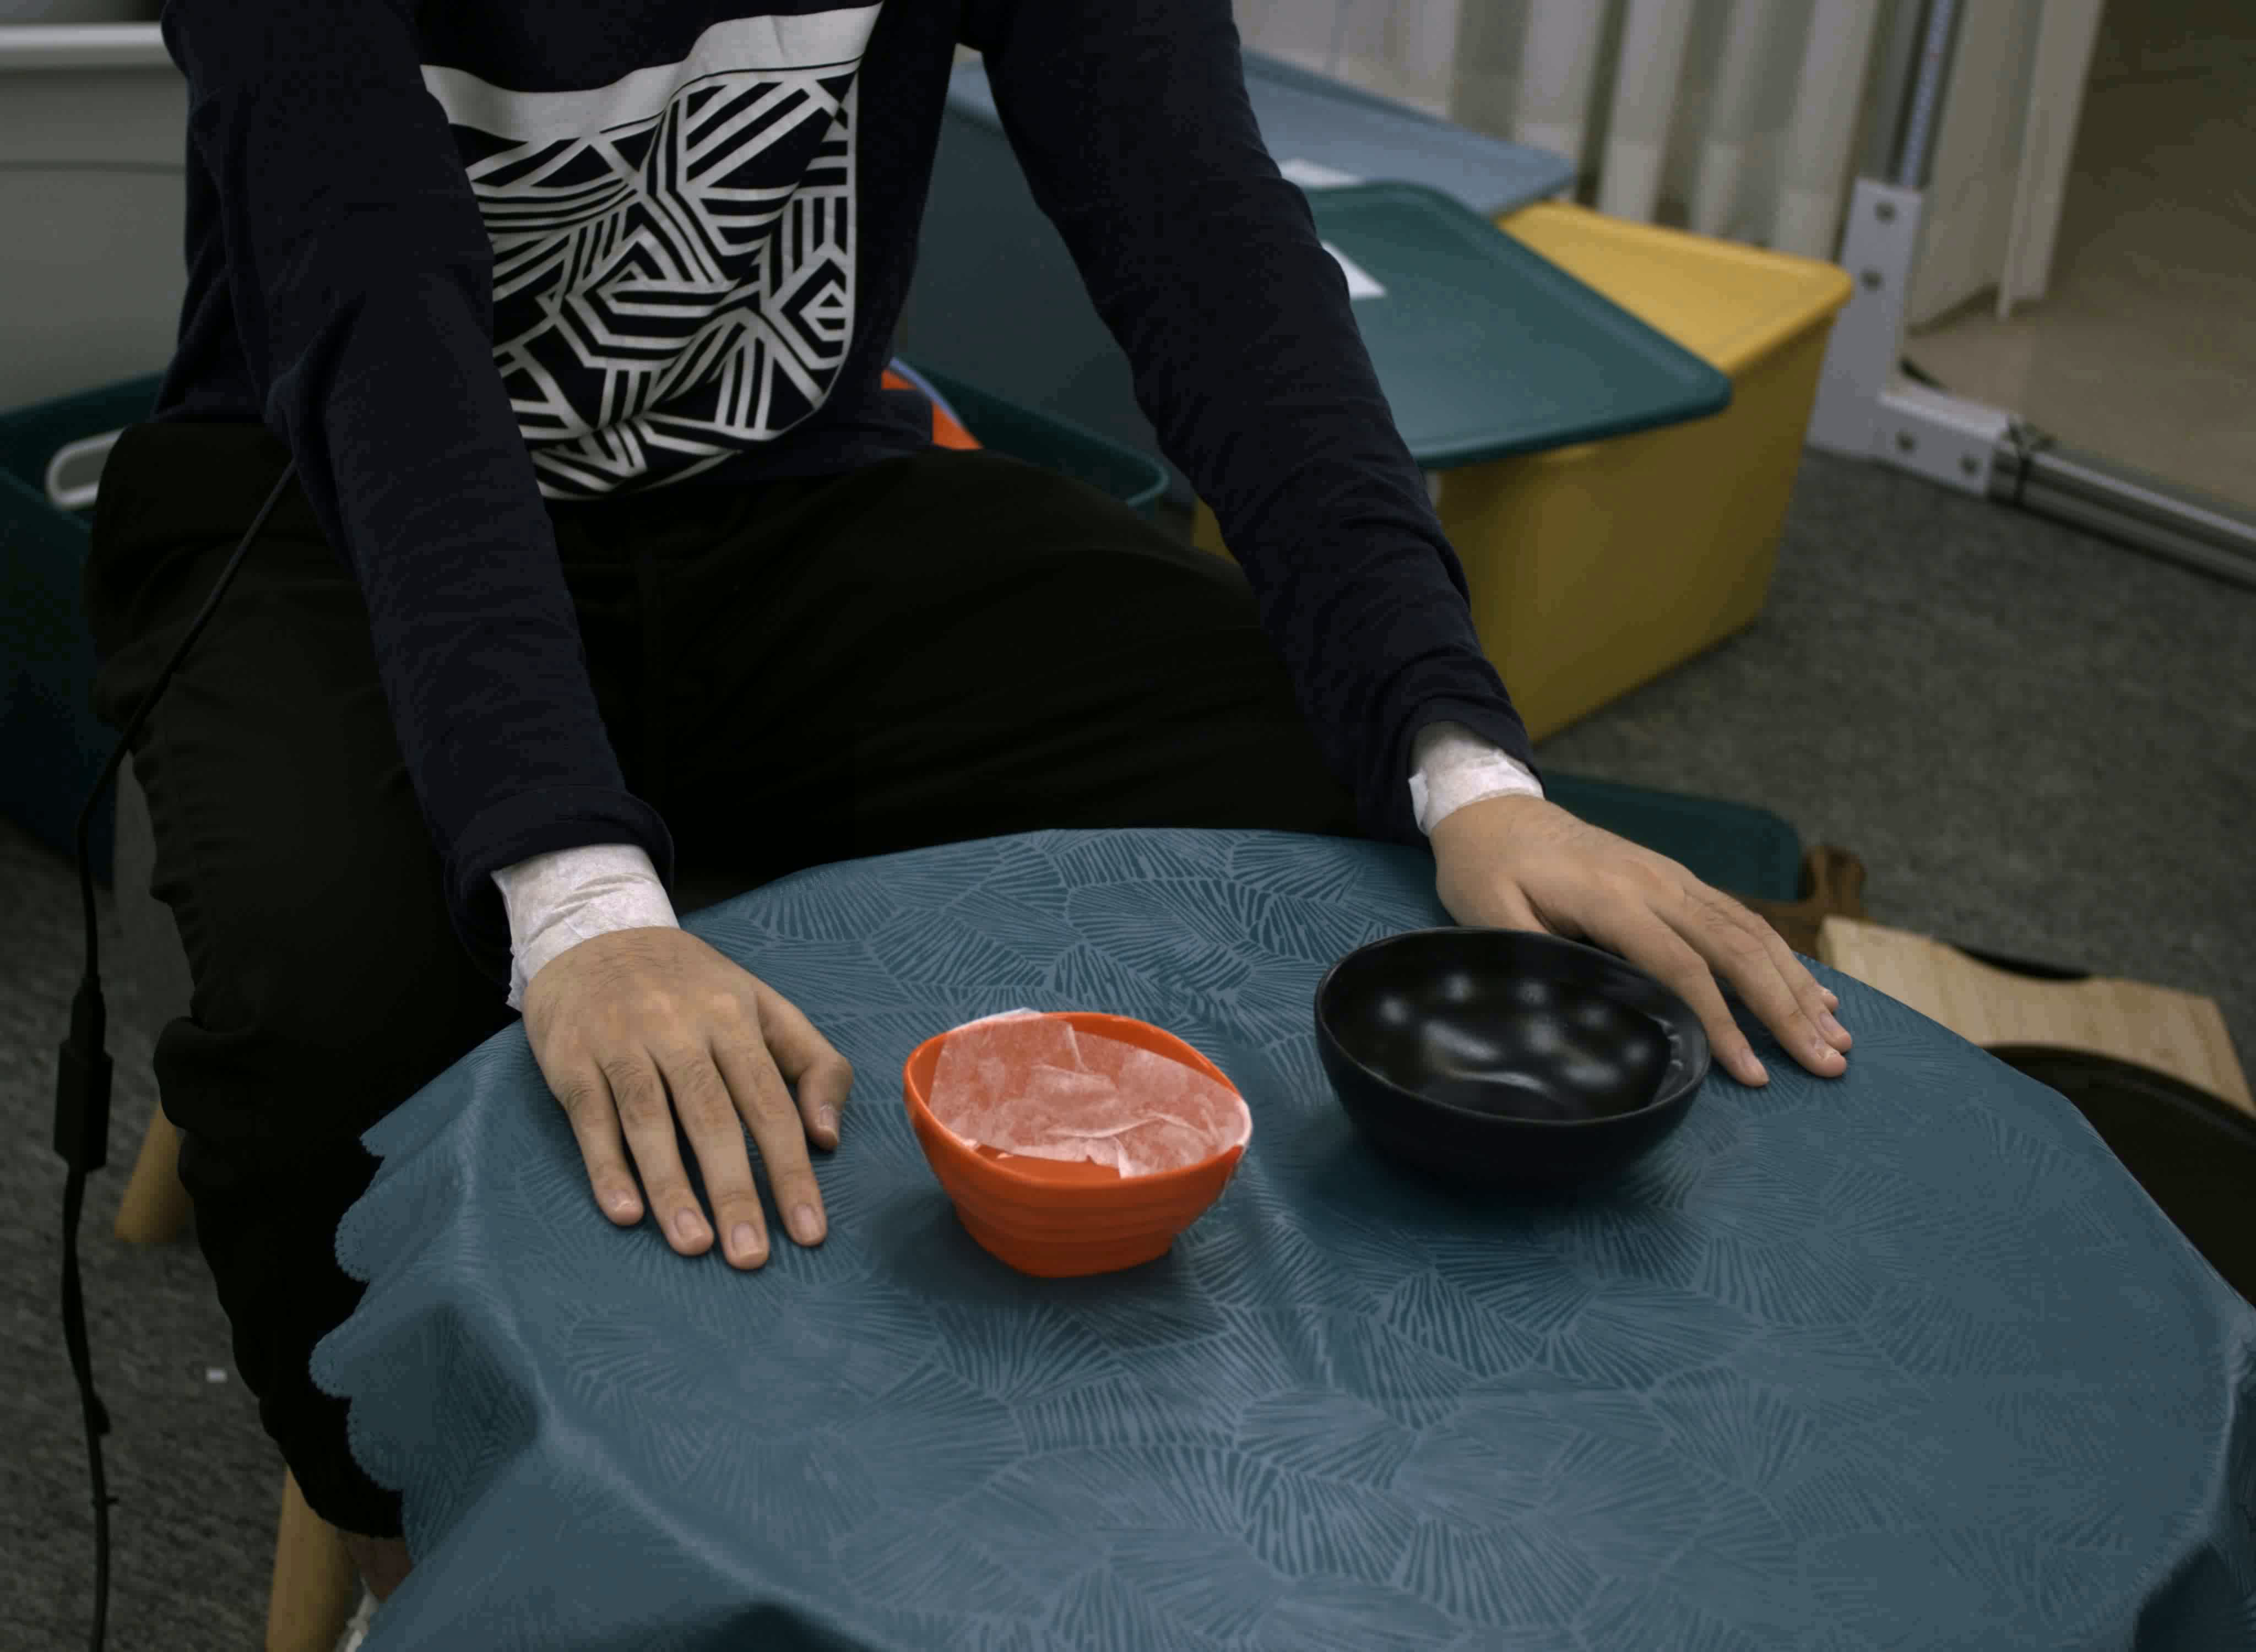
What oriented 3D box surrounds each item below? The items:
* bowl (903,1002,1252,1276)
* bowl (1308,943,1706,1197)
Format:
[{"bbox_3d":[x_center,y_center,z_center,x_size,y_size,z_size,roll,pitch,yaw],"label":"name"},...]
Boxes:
[{"bbox_3d":[-0.019,0.109,1.772,0.118,0.051,0.119,5,29,-3],"label":"bowl"},{"bbox_3d":[0.129,0.091,1.851,0.139,0.049,0.141,4,23,-2],"label":"bowl"}]
